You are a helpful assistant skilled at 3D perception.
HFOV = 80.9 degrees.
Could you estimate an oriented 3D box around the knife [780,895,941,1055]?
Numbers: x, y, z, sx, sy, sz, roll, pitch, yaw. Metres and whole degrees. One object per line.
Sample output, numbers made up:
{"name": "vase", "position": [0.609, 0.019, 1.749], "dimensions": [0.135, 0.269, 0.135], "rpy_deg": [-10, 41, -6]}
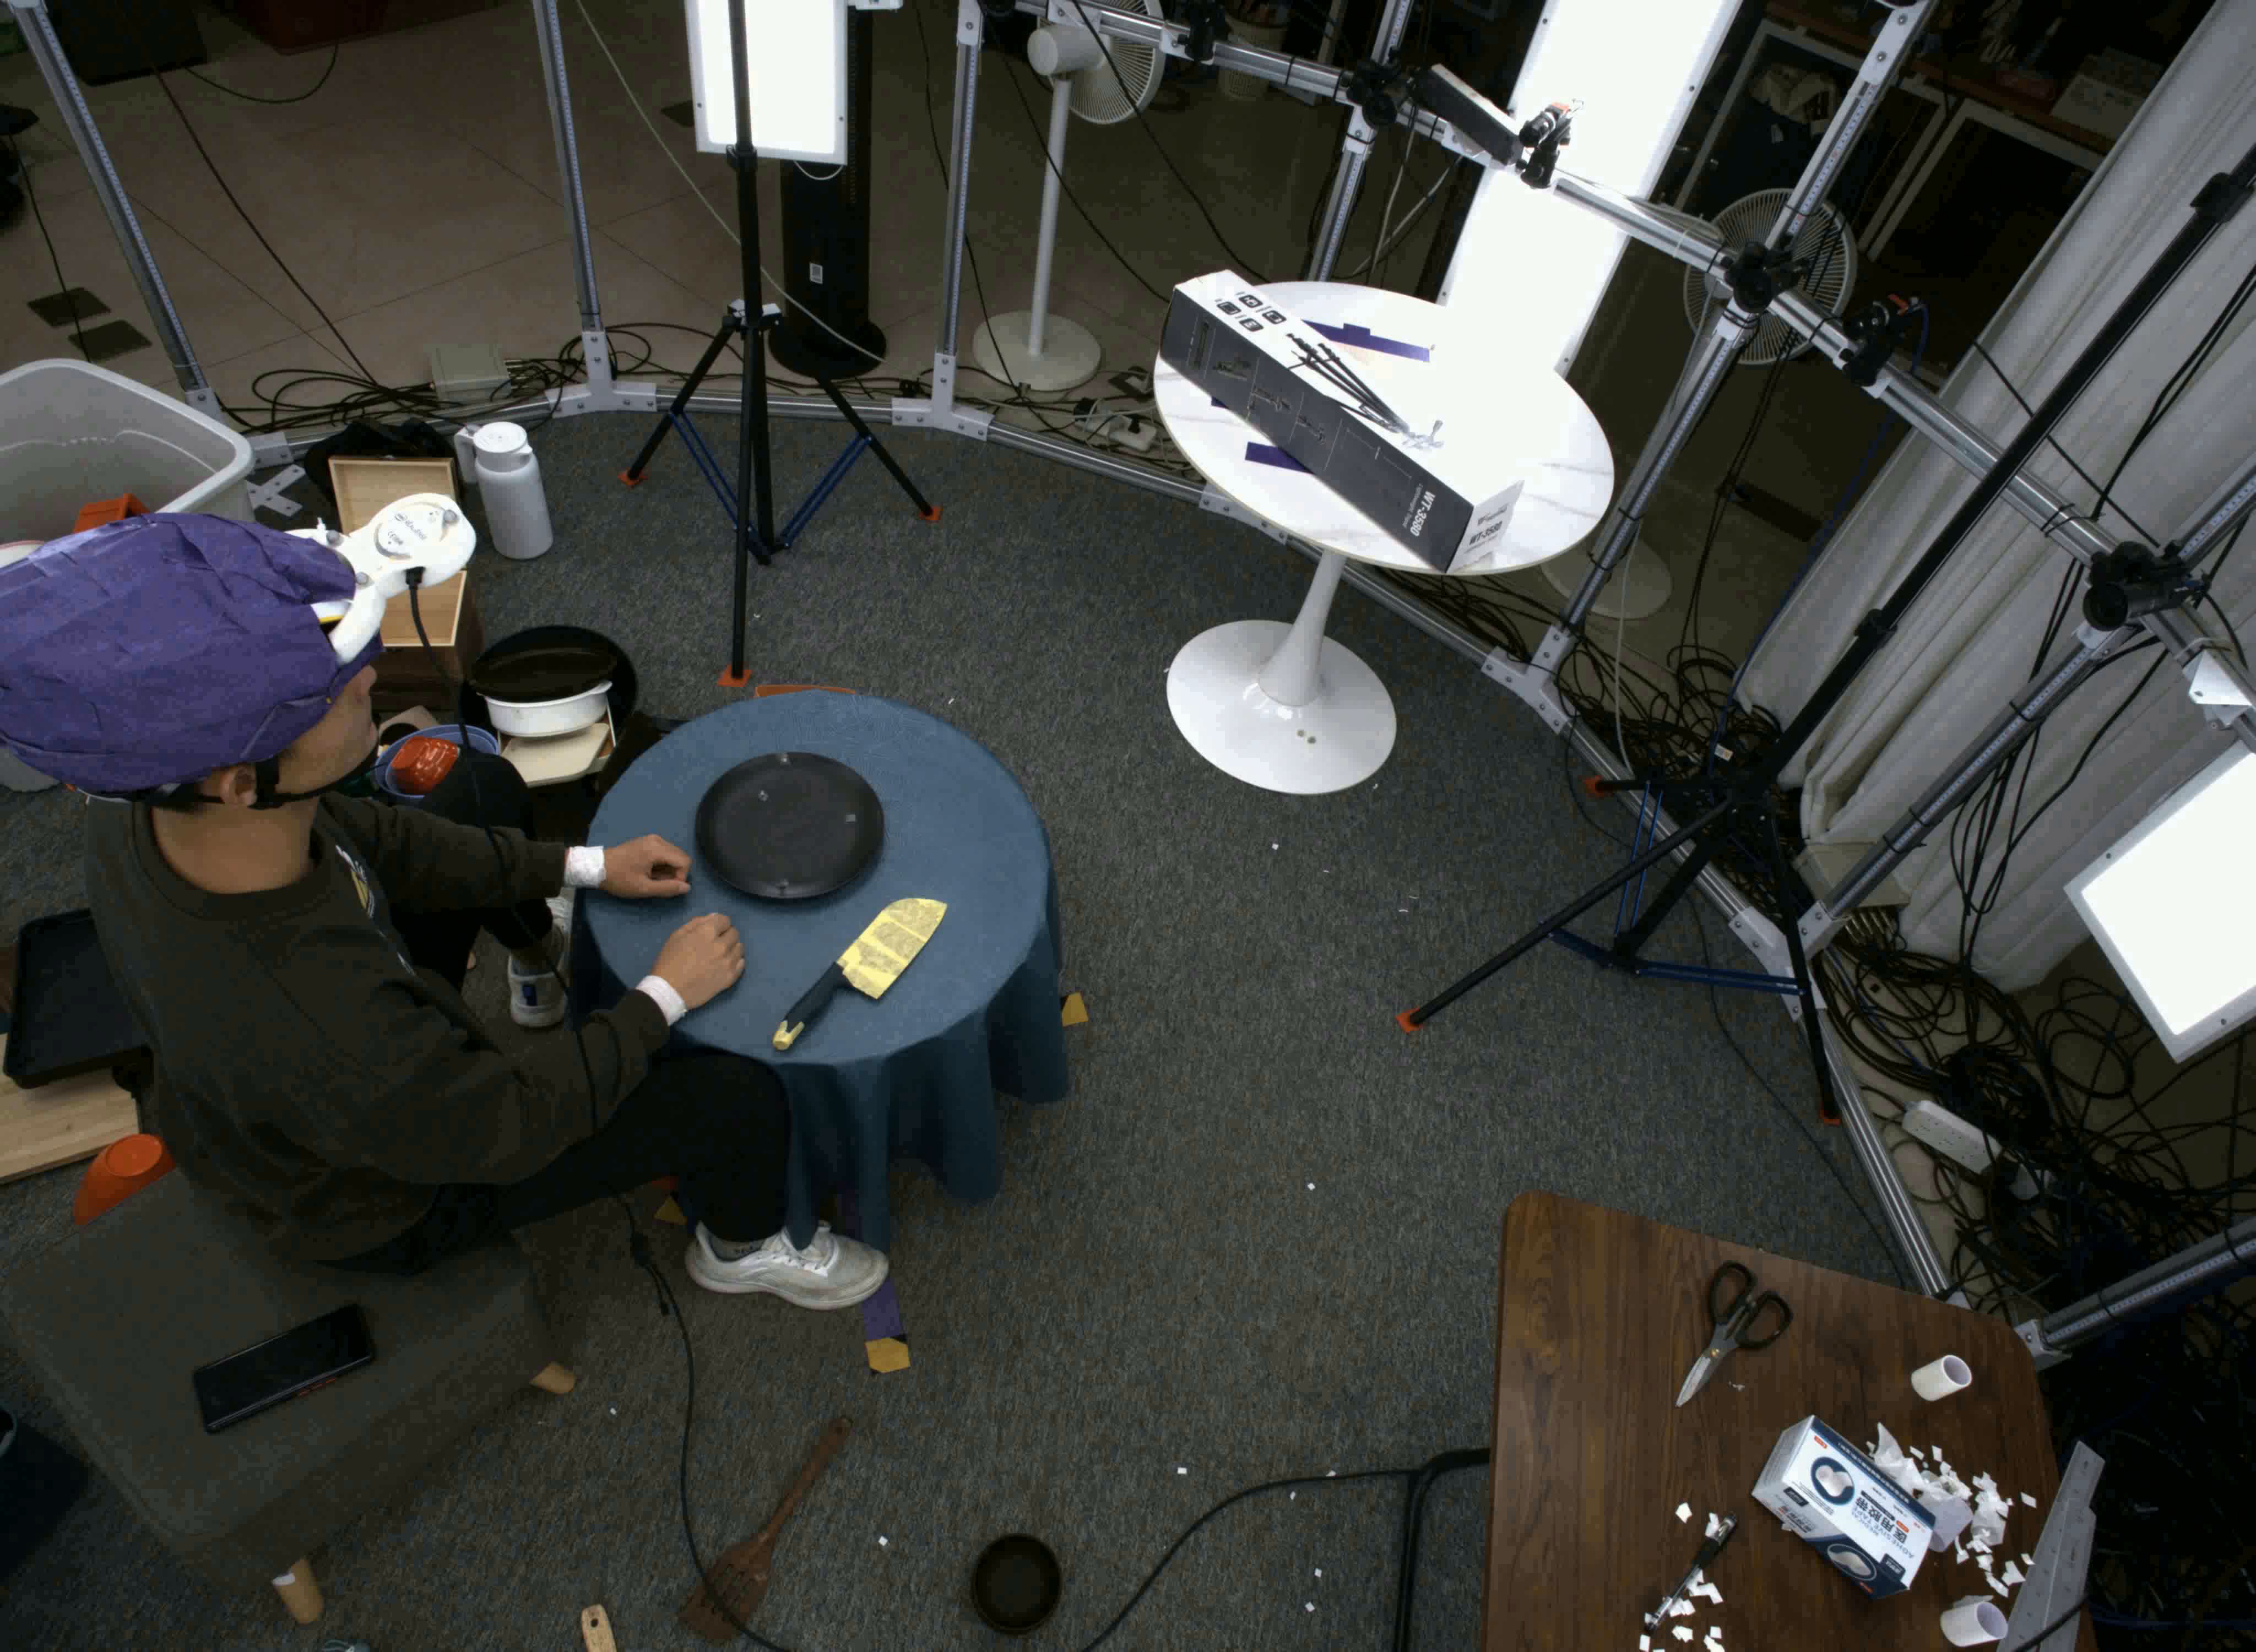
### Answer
{"name": "knife", "position": [-0.327, 0.179, 1.618], "dimensions": [0.079, 0.028, 0.289], "rpy_deg": [31, 52, 12]}

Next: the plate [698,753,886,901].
{"name": "plate", "position": [-0.443, 0.001, 1.714], "dimensions": [0.244, 0.024, 0.240], "rpy_deg": [8, 53, -9]}
